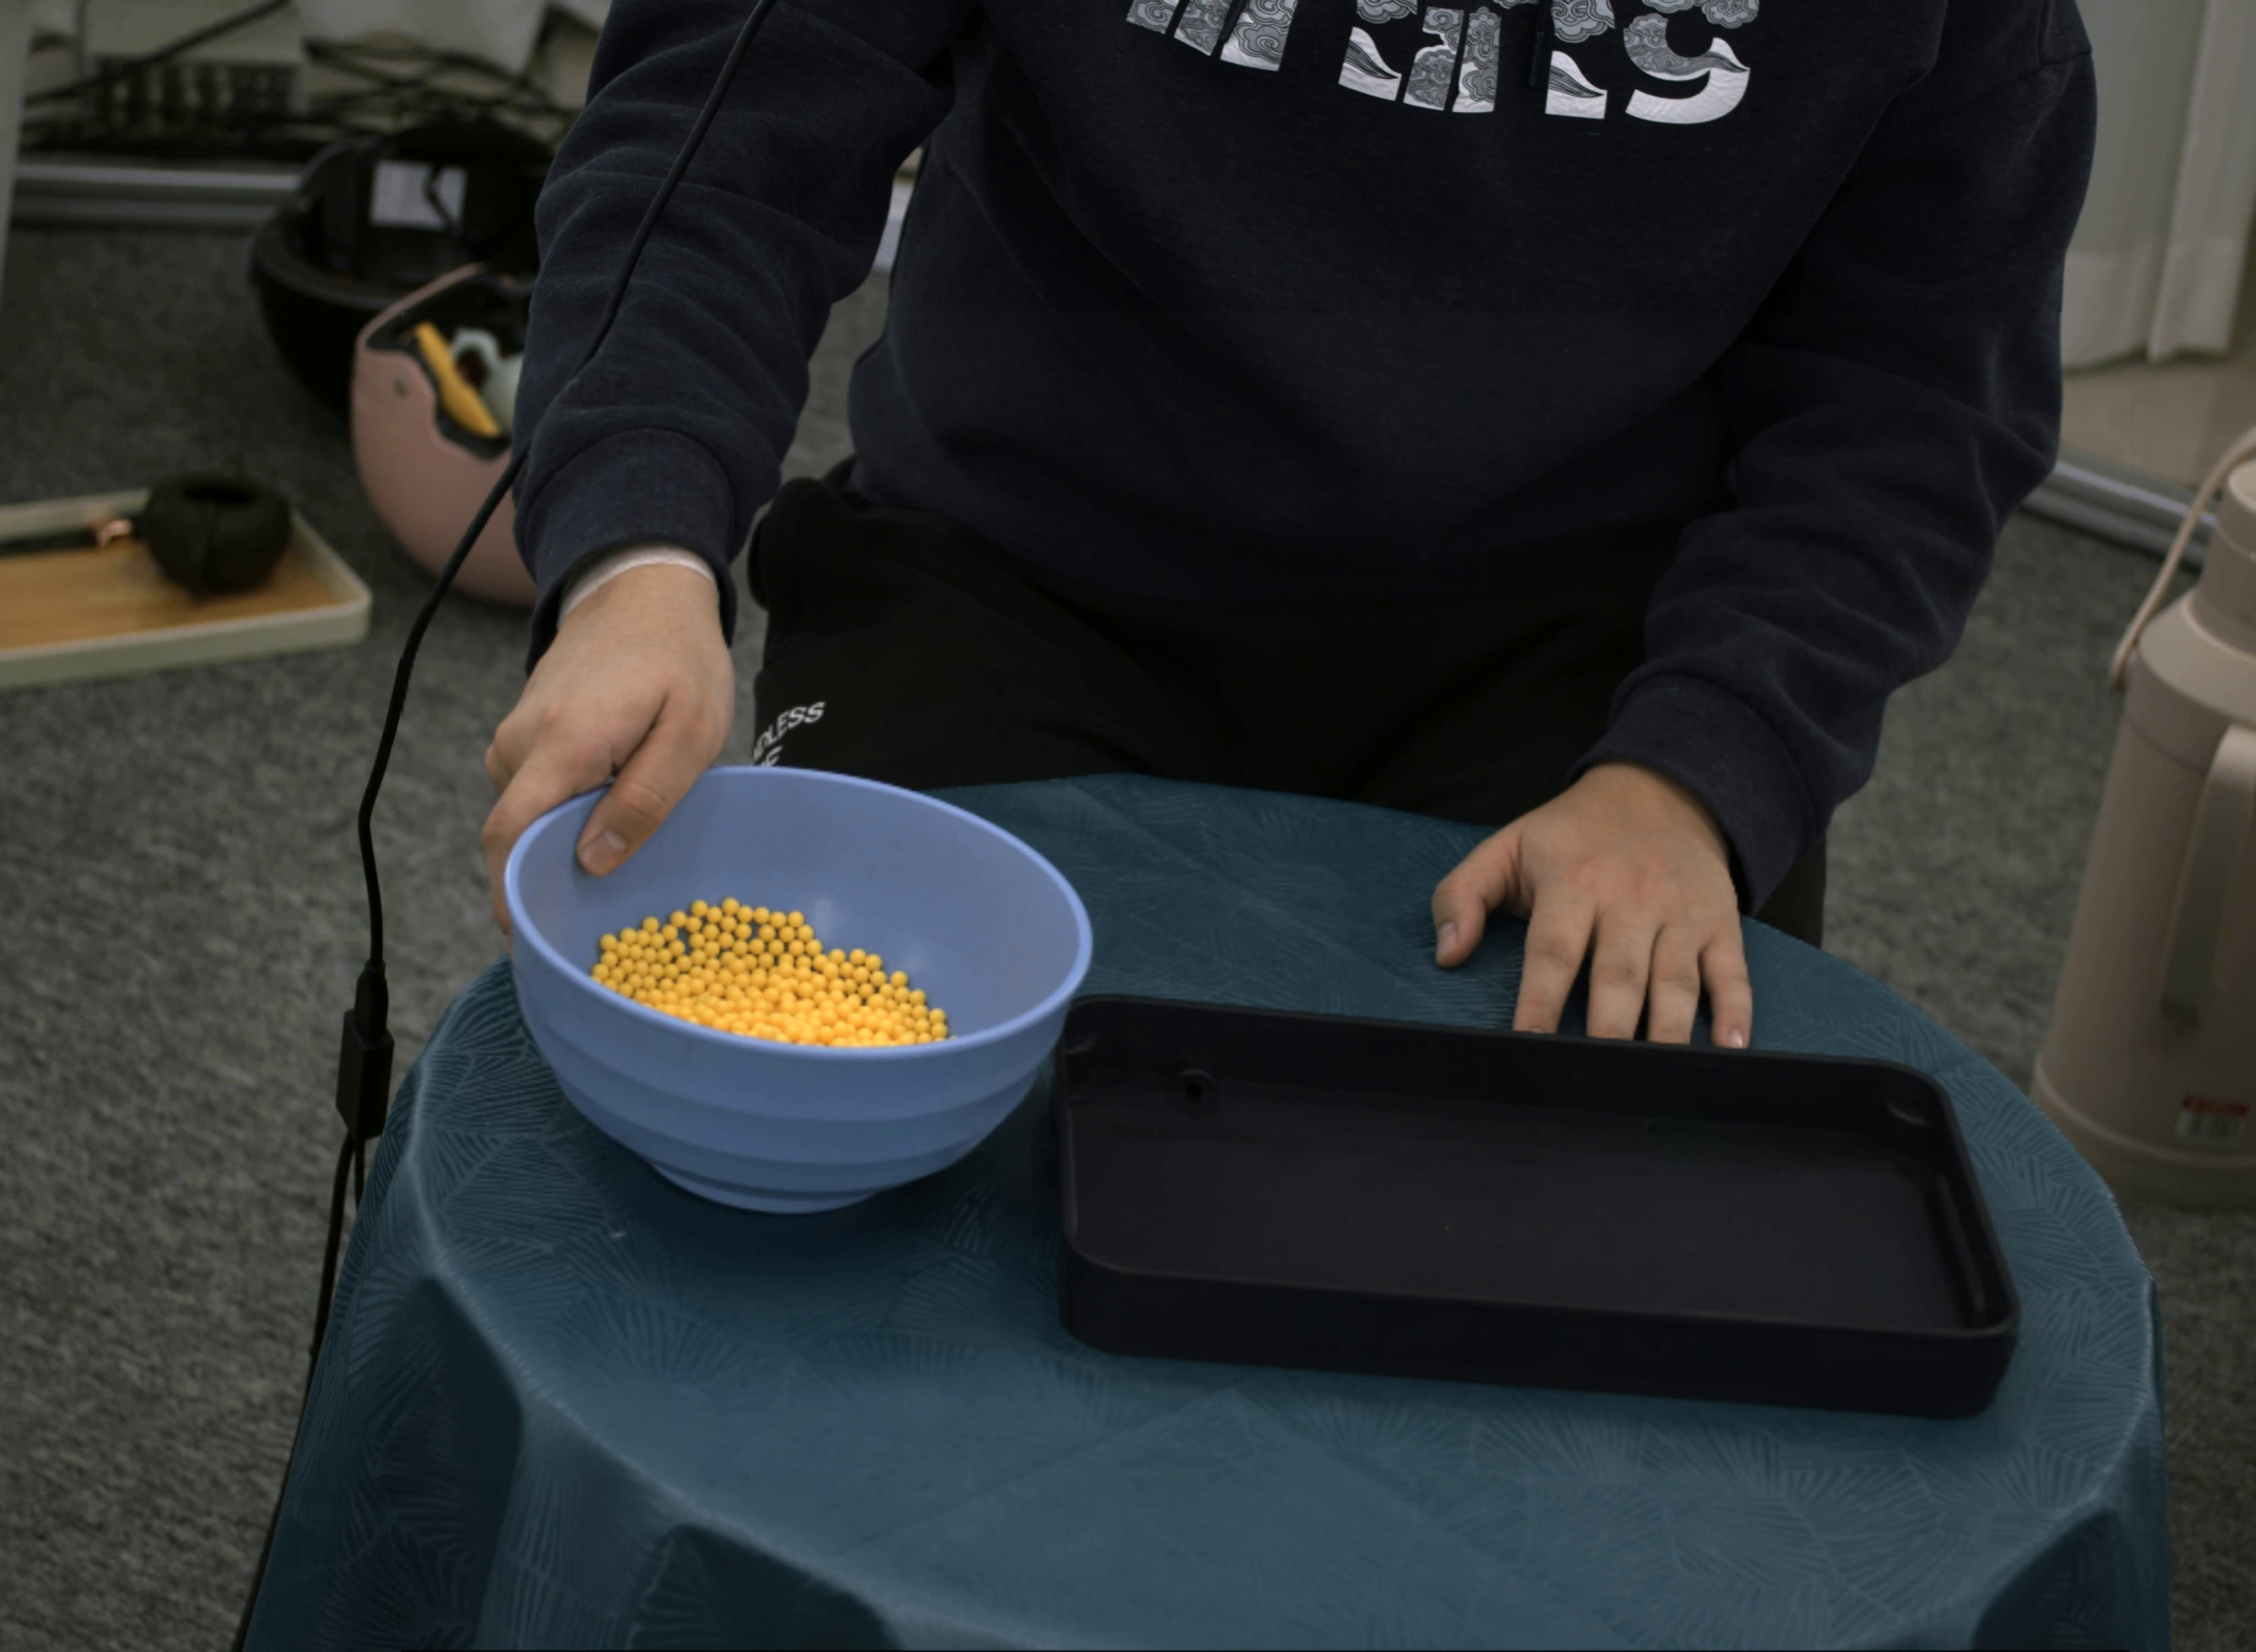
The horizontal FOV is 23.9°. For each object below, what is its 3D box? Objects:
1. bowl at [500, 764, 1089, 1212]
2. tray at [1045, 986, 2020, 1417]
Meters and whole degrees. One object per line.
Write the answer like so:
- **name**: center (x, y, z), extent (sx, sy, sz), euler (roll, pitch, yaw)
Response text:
- **bowl**: center (-0.115, 0.065, 1.785), extent (0.196, 0.095, 0.198), euler (6, 28, -3)
- **tray**: center (0.129, 0.125, 1.792), extent (0.317, 0.037, 0.185), euler (5, 27, -4)
